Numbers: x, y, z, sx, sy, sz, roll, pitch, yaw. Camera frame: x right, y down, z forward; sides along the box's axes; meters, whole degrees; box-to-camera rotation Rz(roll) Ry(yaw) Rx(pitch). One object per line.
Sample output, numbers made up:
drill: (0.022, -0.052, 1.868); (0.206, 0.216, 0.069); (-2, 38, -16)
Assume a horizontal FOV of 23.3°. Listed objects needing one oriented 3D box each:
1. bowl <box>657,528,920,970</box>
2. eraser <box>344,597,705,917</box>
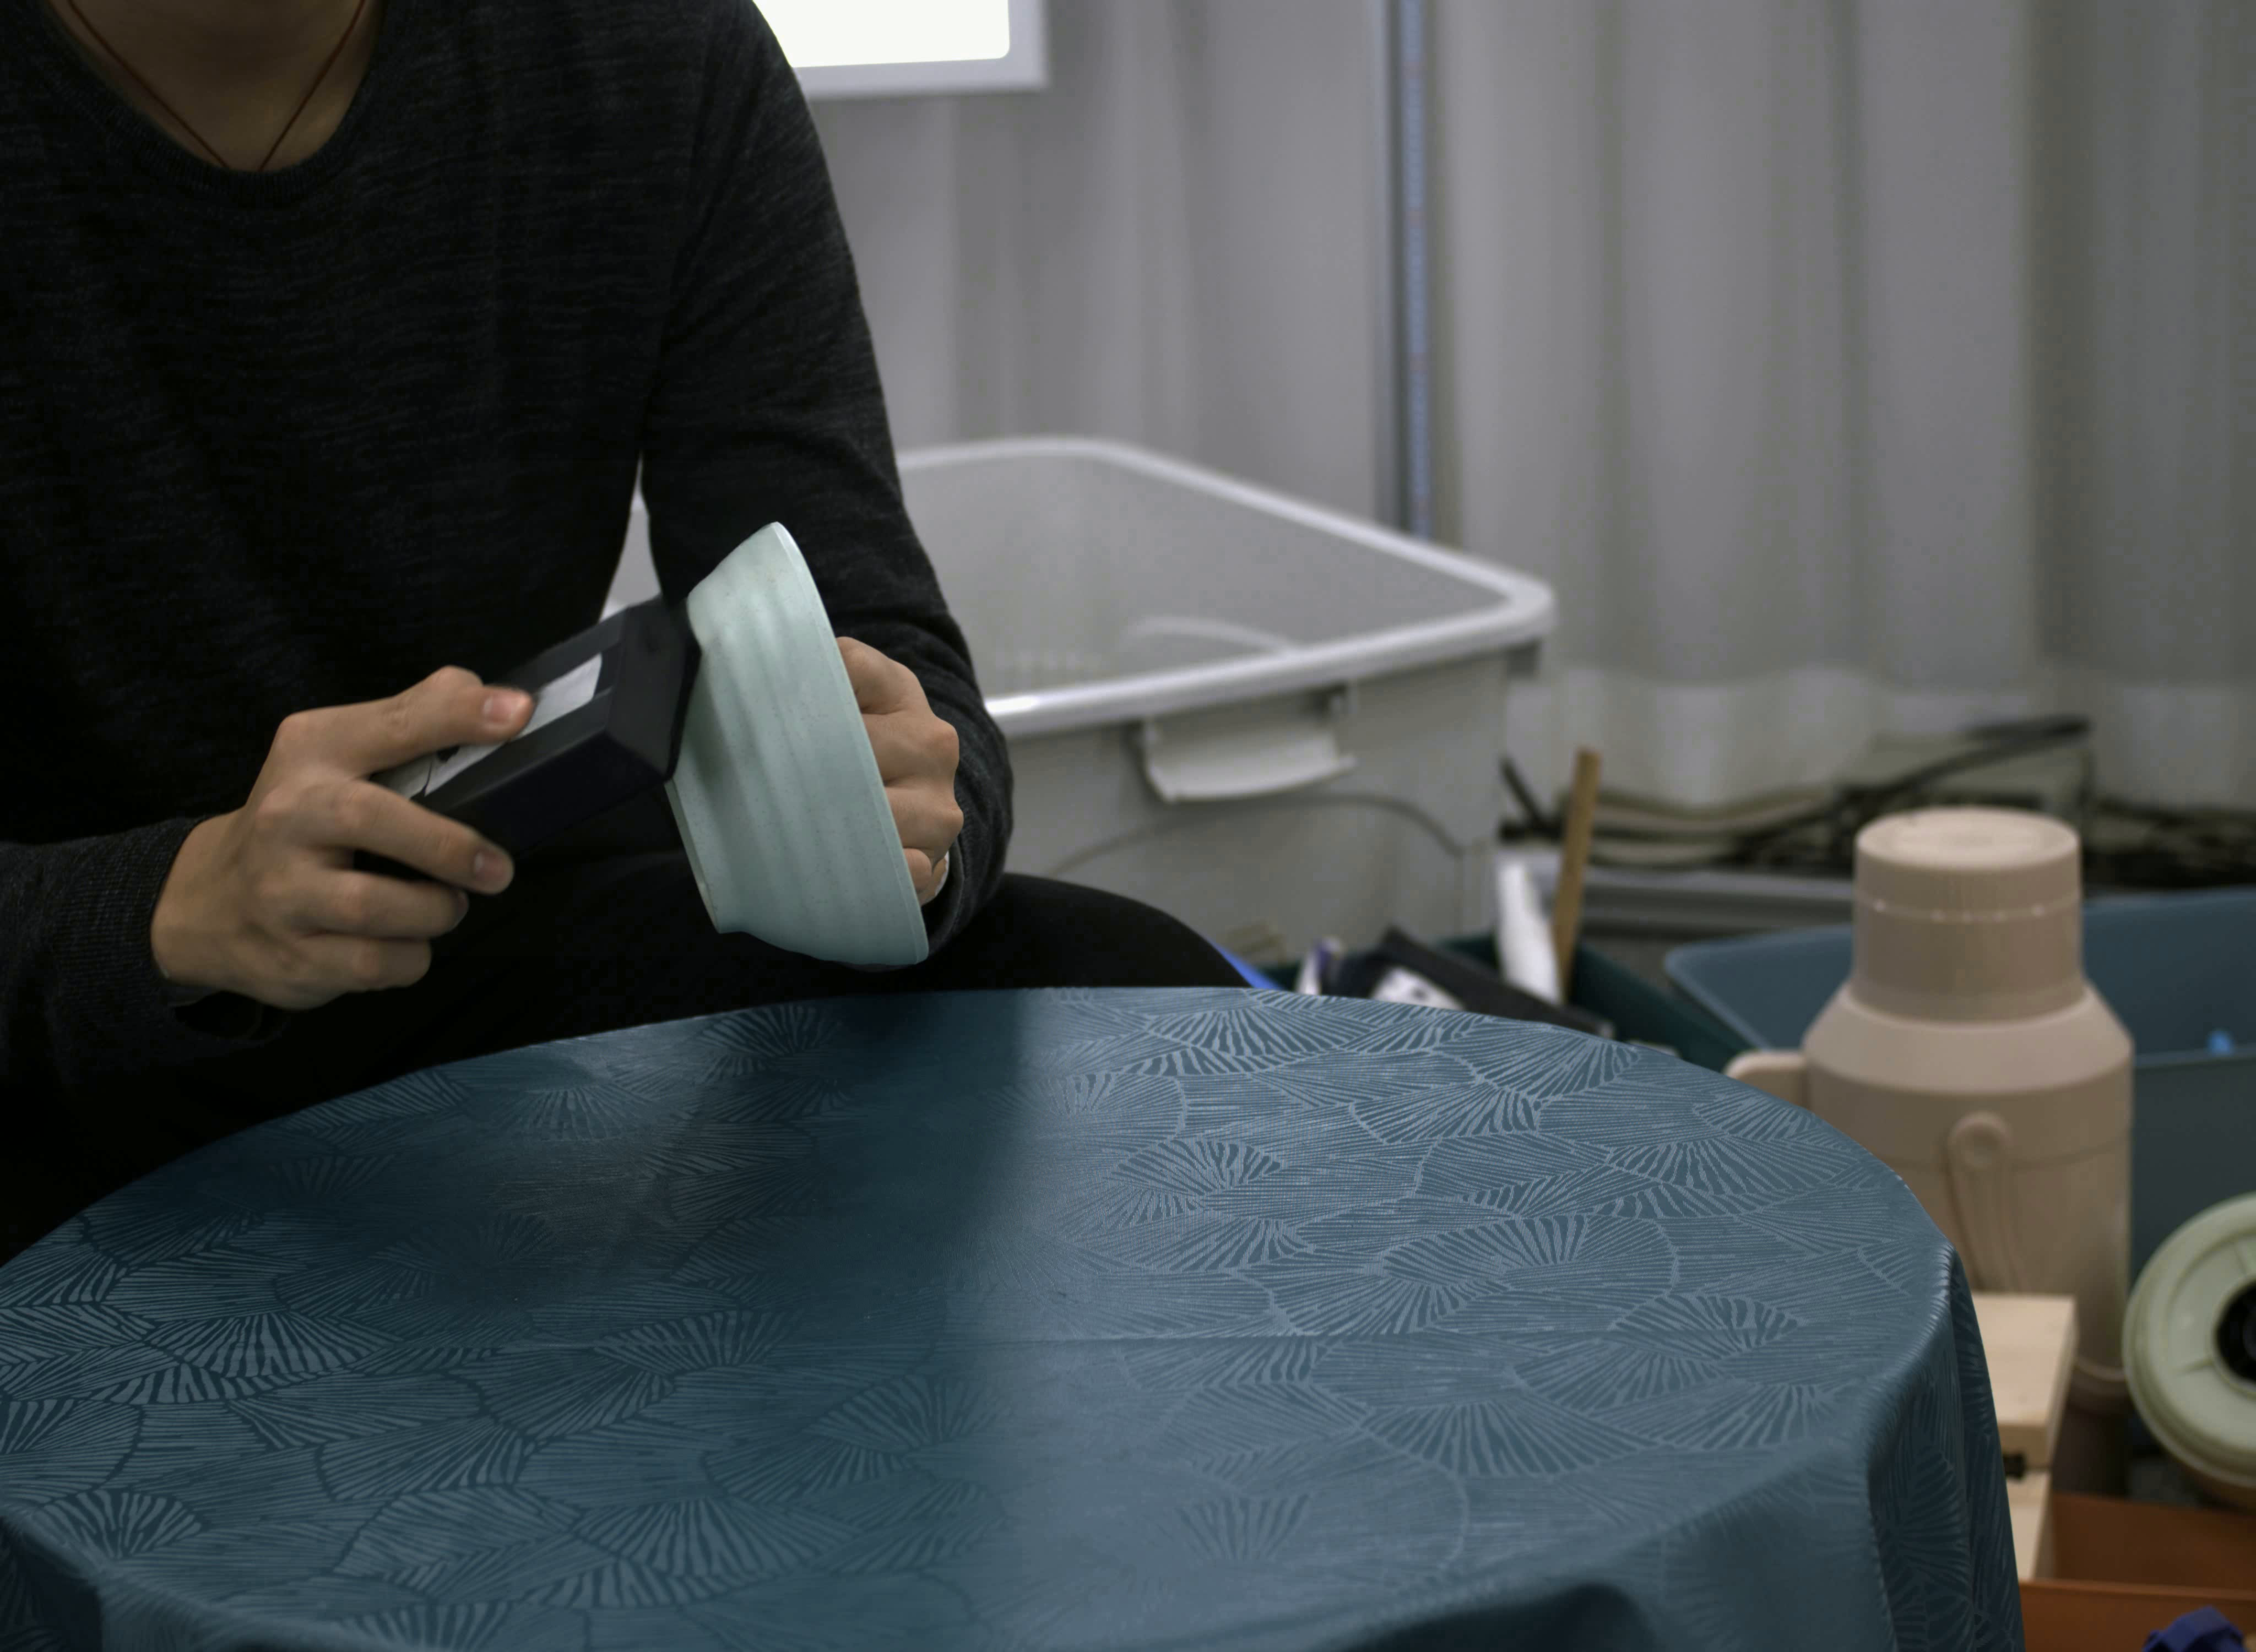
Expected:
bowl: (-0.112, -0.016, 1.659); (0.058, 0.150, 0.152); (-18, 16, -4)
eraser: (-0.179, -0.020, 1.623); (0.125, 0.030, 0.054); (-28, 38, 34)
